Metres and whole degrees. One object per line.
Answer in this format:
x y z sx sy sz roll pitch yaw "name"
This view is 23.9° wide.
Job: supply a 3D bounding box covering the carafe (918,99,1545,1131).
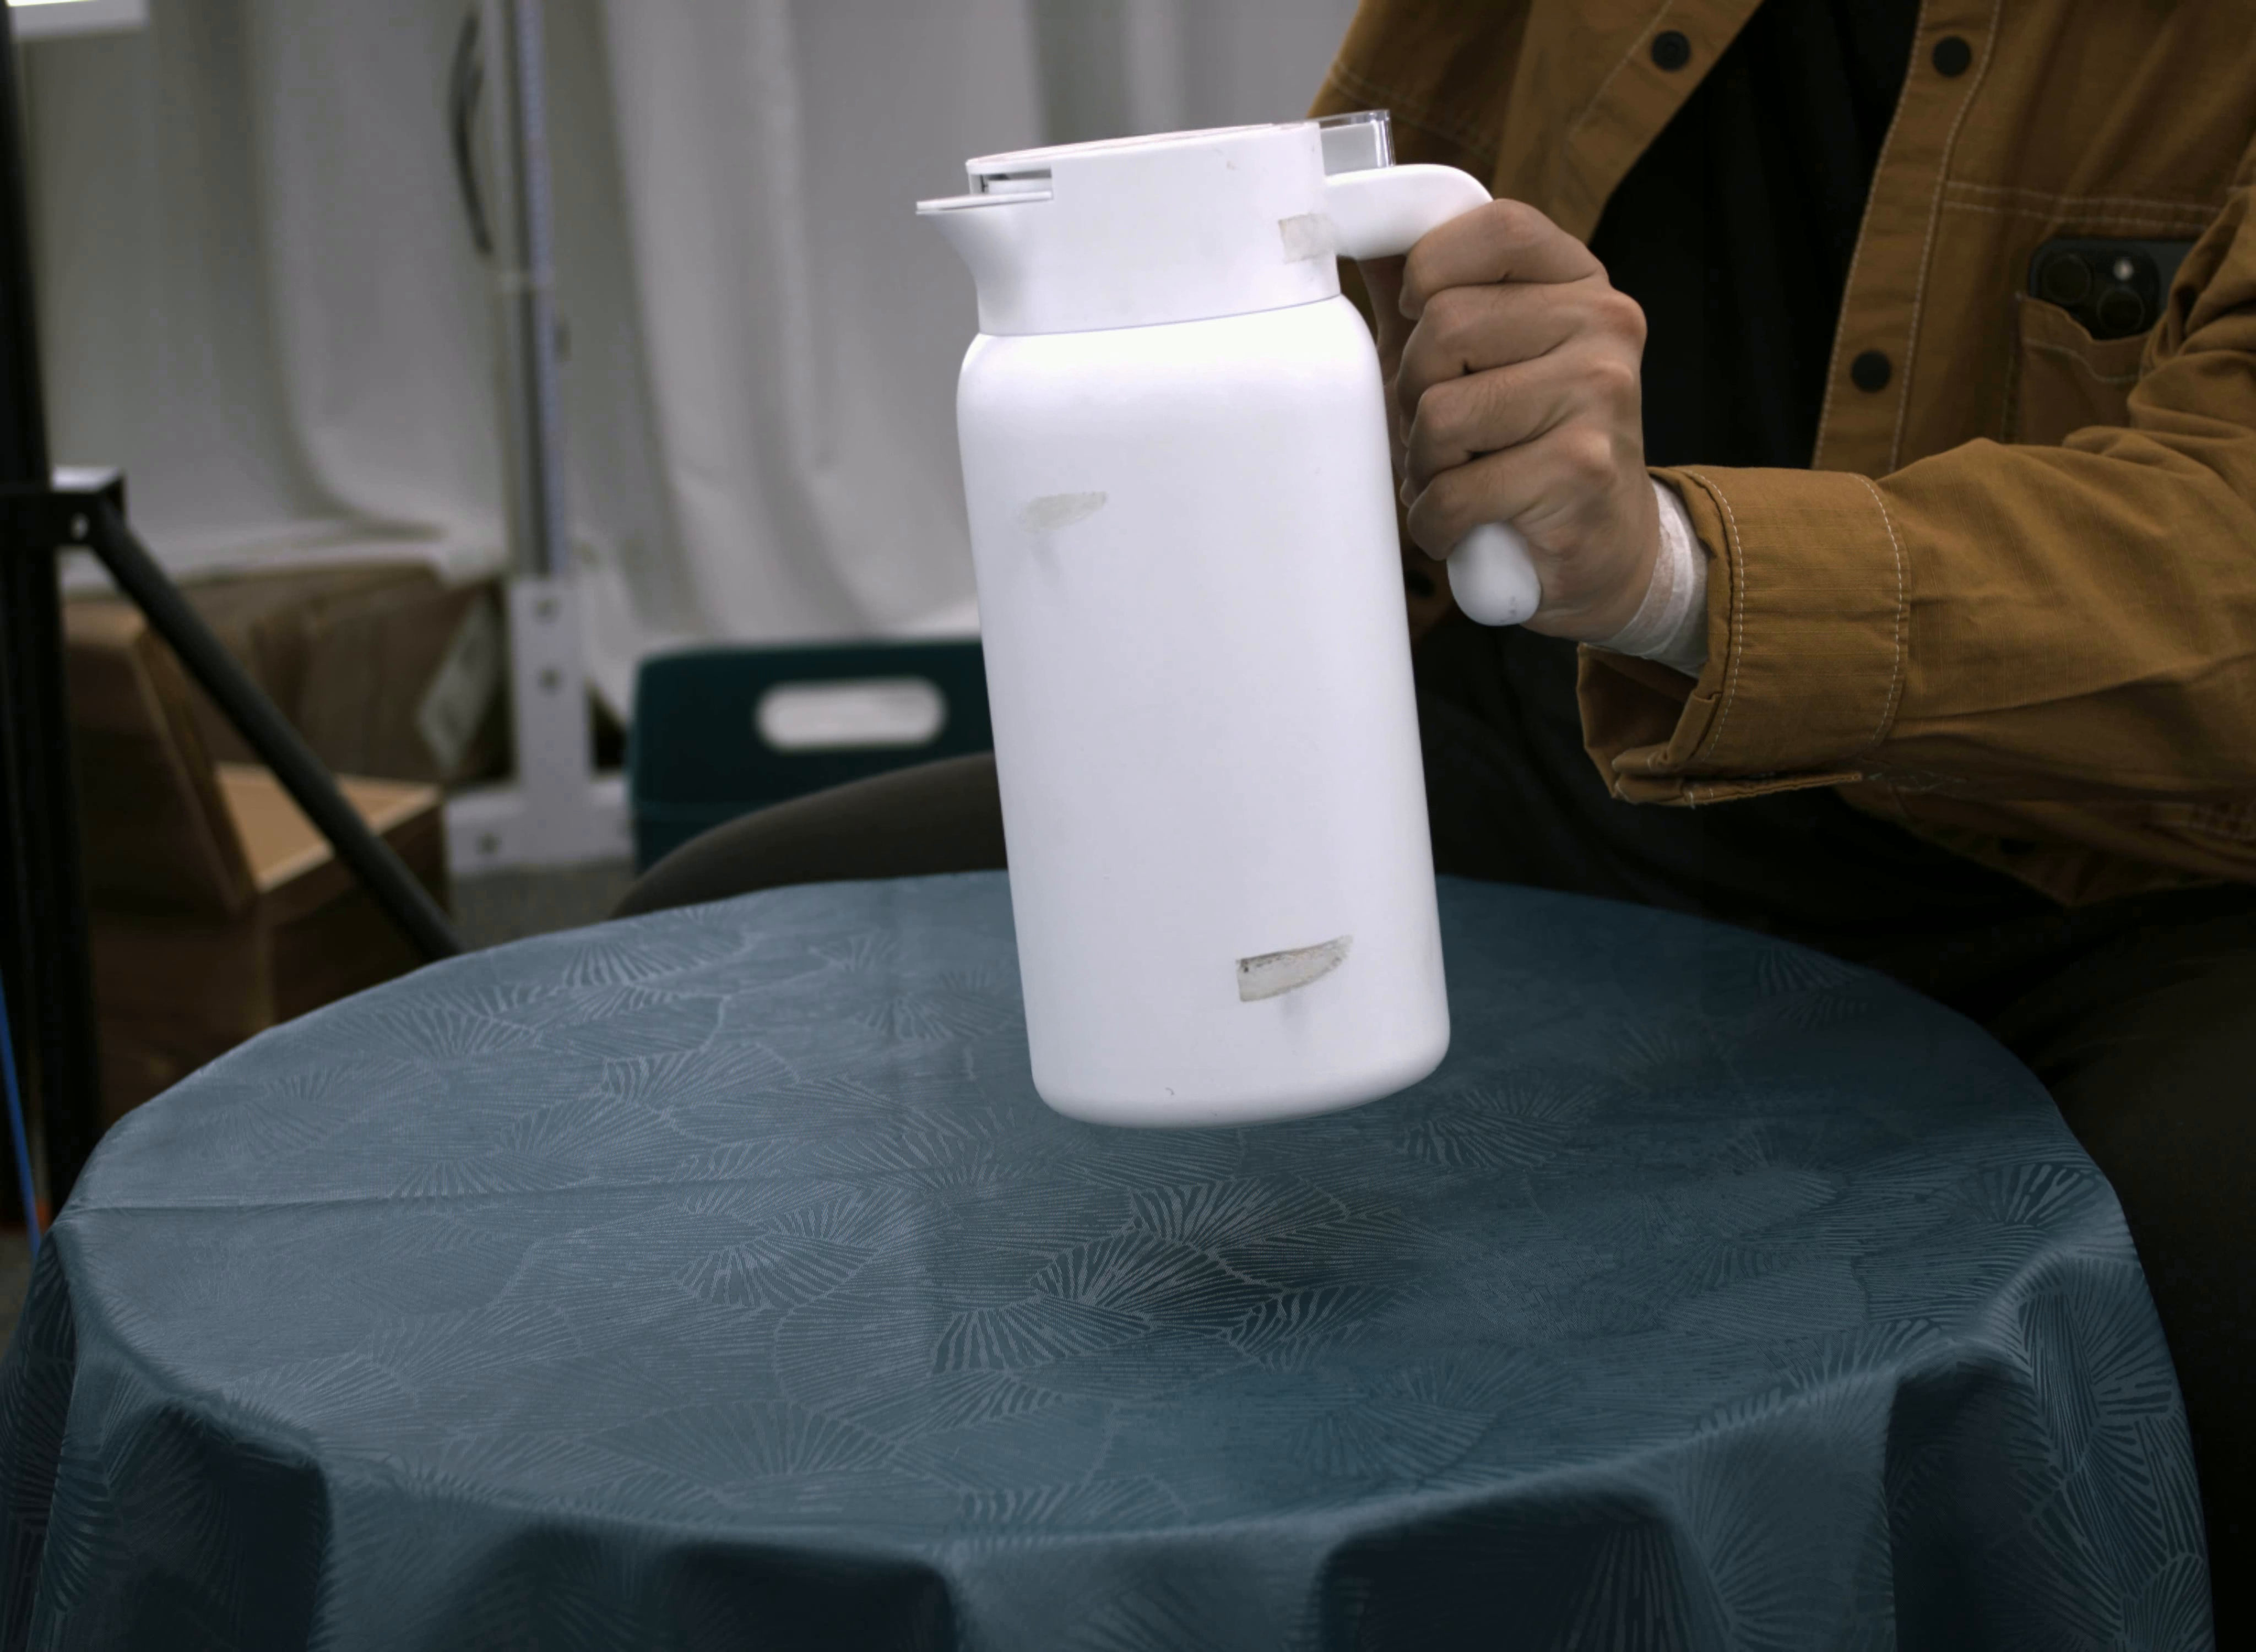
0.034 -0.061 1.460 0.169 0.269 0.126 -10 6 -24 "carafe"
